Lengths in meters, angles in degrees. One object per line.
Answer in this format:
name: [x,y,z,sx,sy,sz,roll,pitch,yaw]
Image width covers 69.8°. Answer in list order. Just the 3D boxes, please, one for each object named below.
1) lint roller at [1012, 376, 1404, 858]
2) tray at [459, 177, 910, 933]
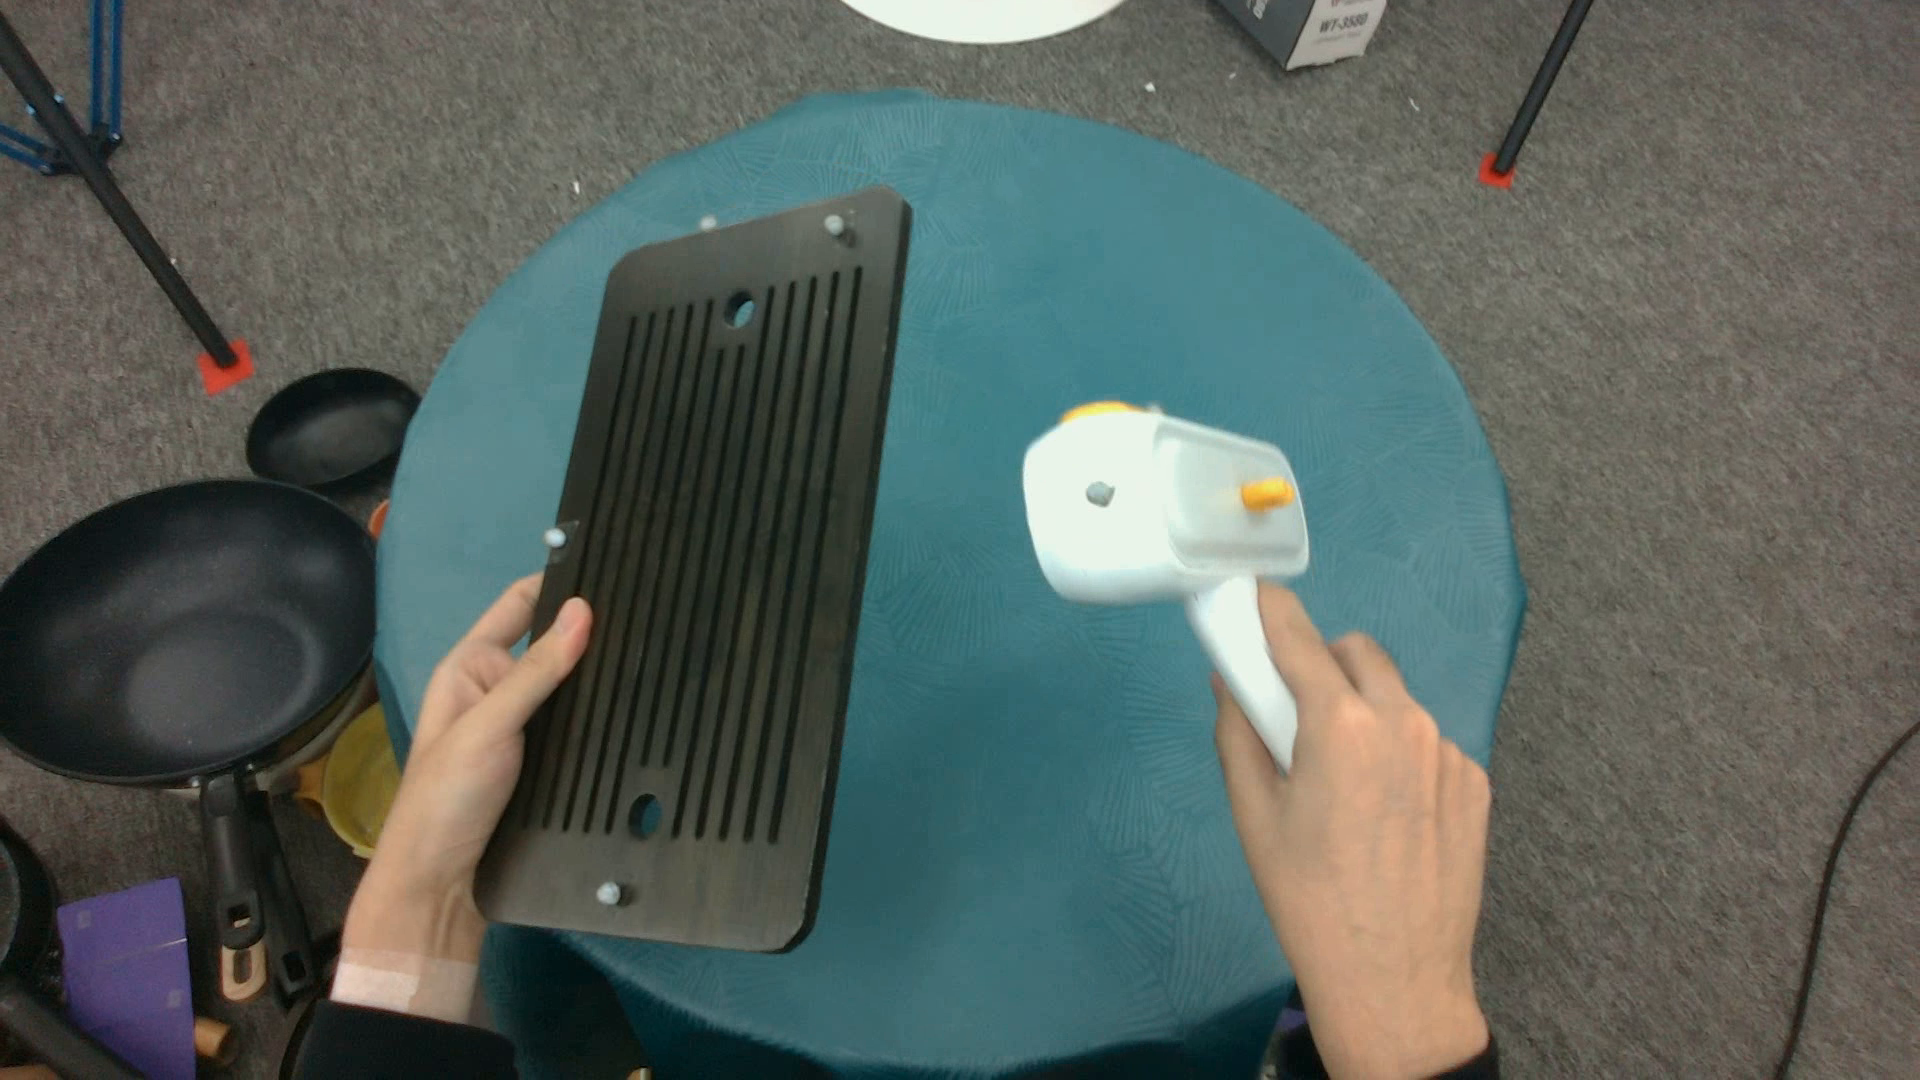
lint roller: [0.103,0.030,0.511,0.074,0.193,0.192,-22,84,23]
tray: [-0.109,-0.002,0.564,0.169,0.018,0.307,-4,68,31]
